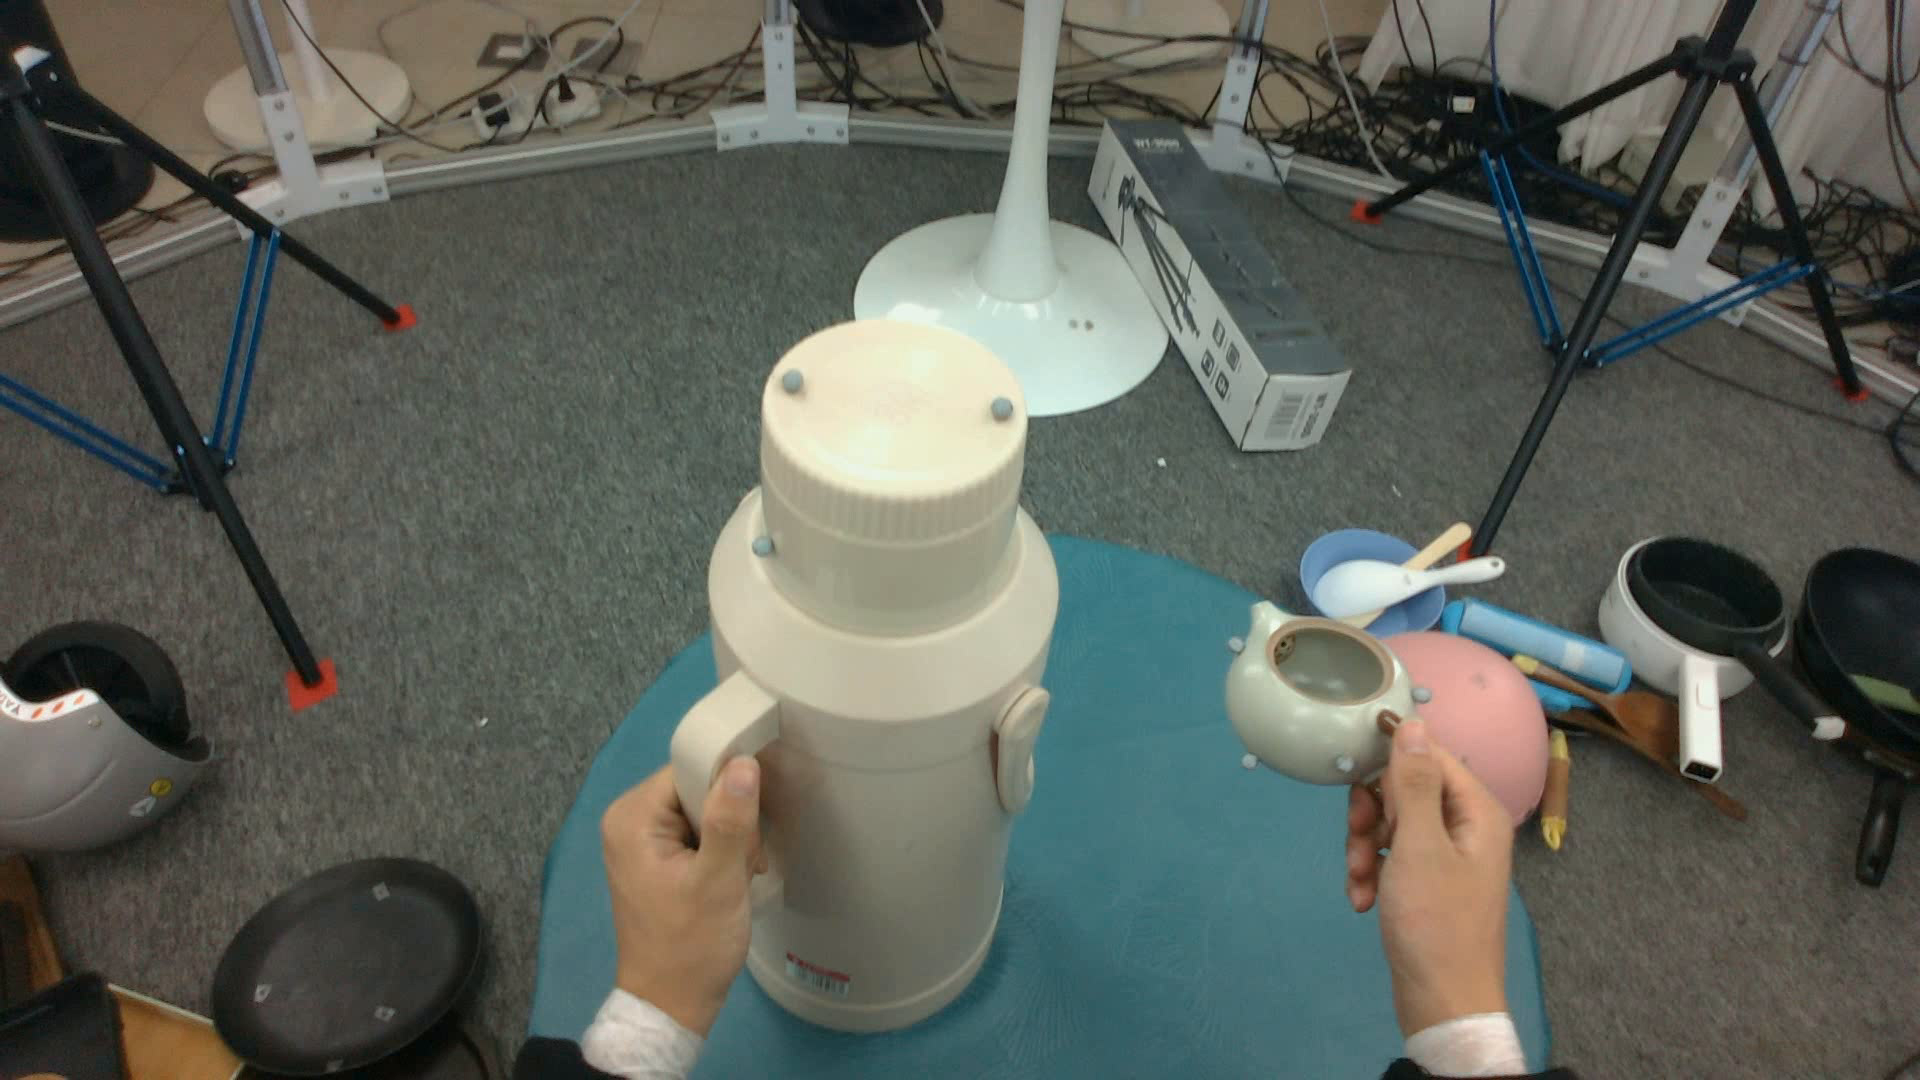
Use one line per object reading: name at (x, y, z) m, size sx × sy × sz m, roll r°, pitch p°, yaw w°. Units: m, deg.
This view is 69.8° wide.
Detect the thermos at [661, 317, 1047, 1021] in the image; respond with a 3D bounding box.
thermos at (-0.058, 0.087, 0.676) m, size 0.175 × 0.404 × 0.208 m, roll 34°, pitch 52°, yaw 21°

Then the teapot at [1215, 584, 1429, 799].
teapot at (0.177, 0.076, 0.671) m, size 0.092 × 0.059 × 0.128 m, roll -18°, pitch 42°, yaw -29°
